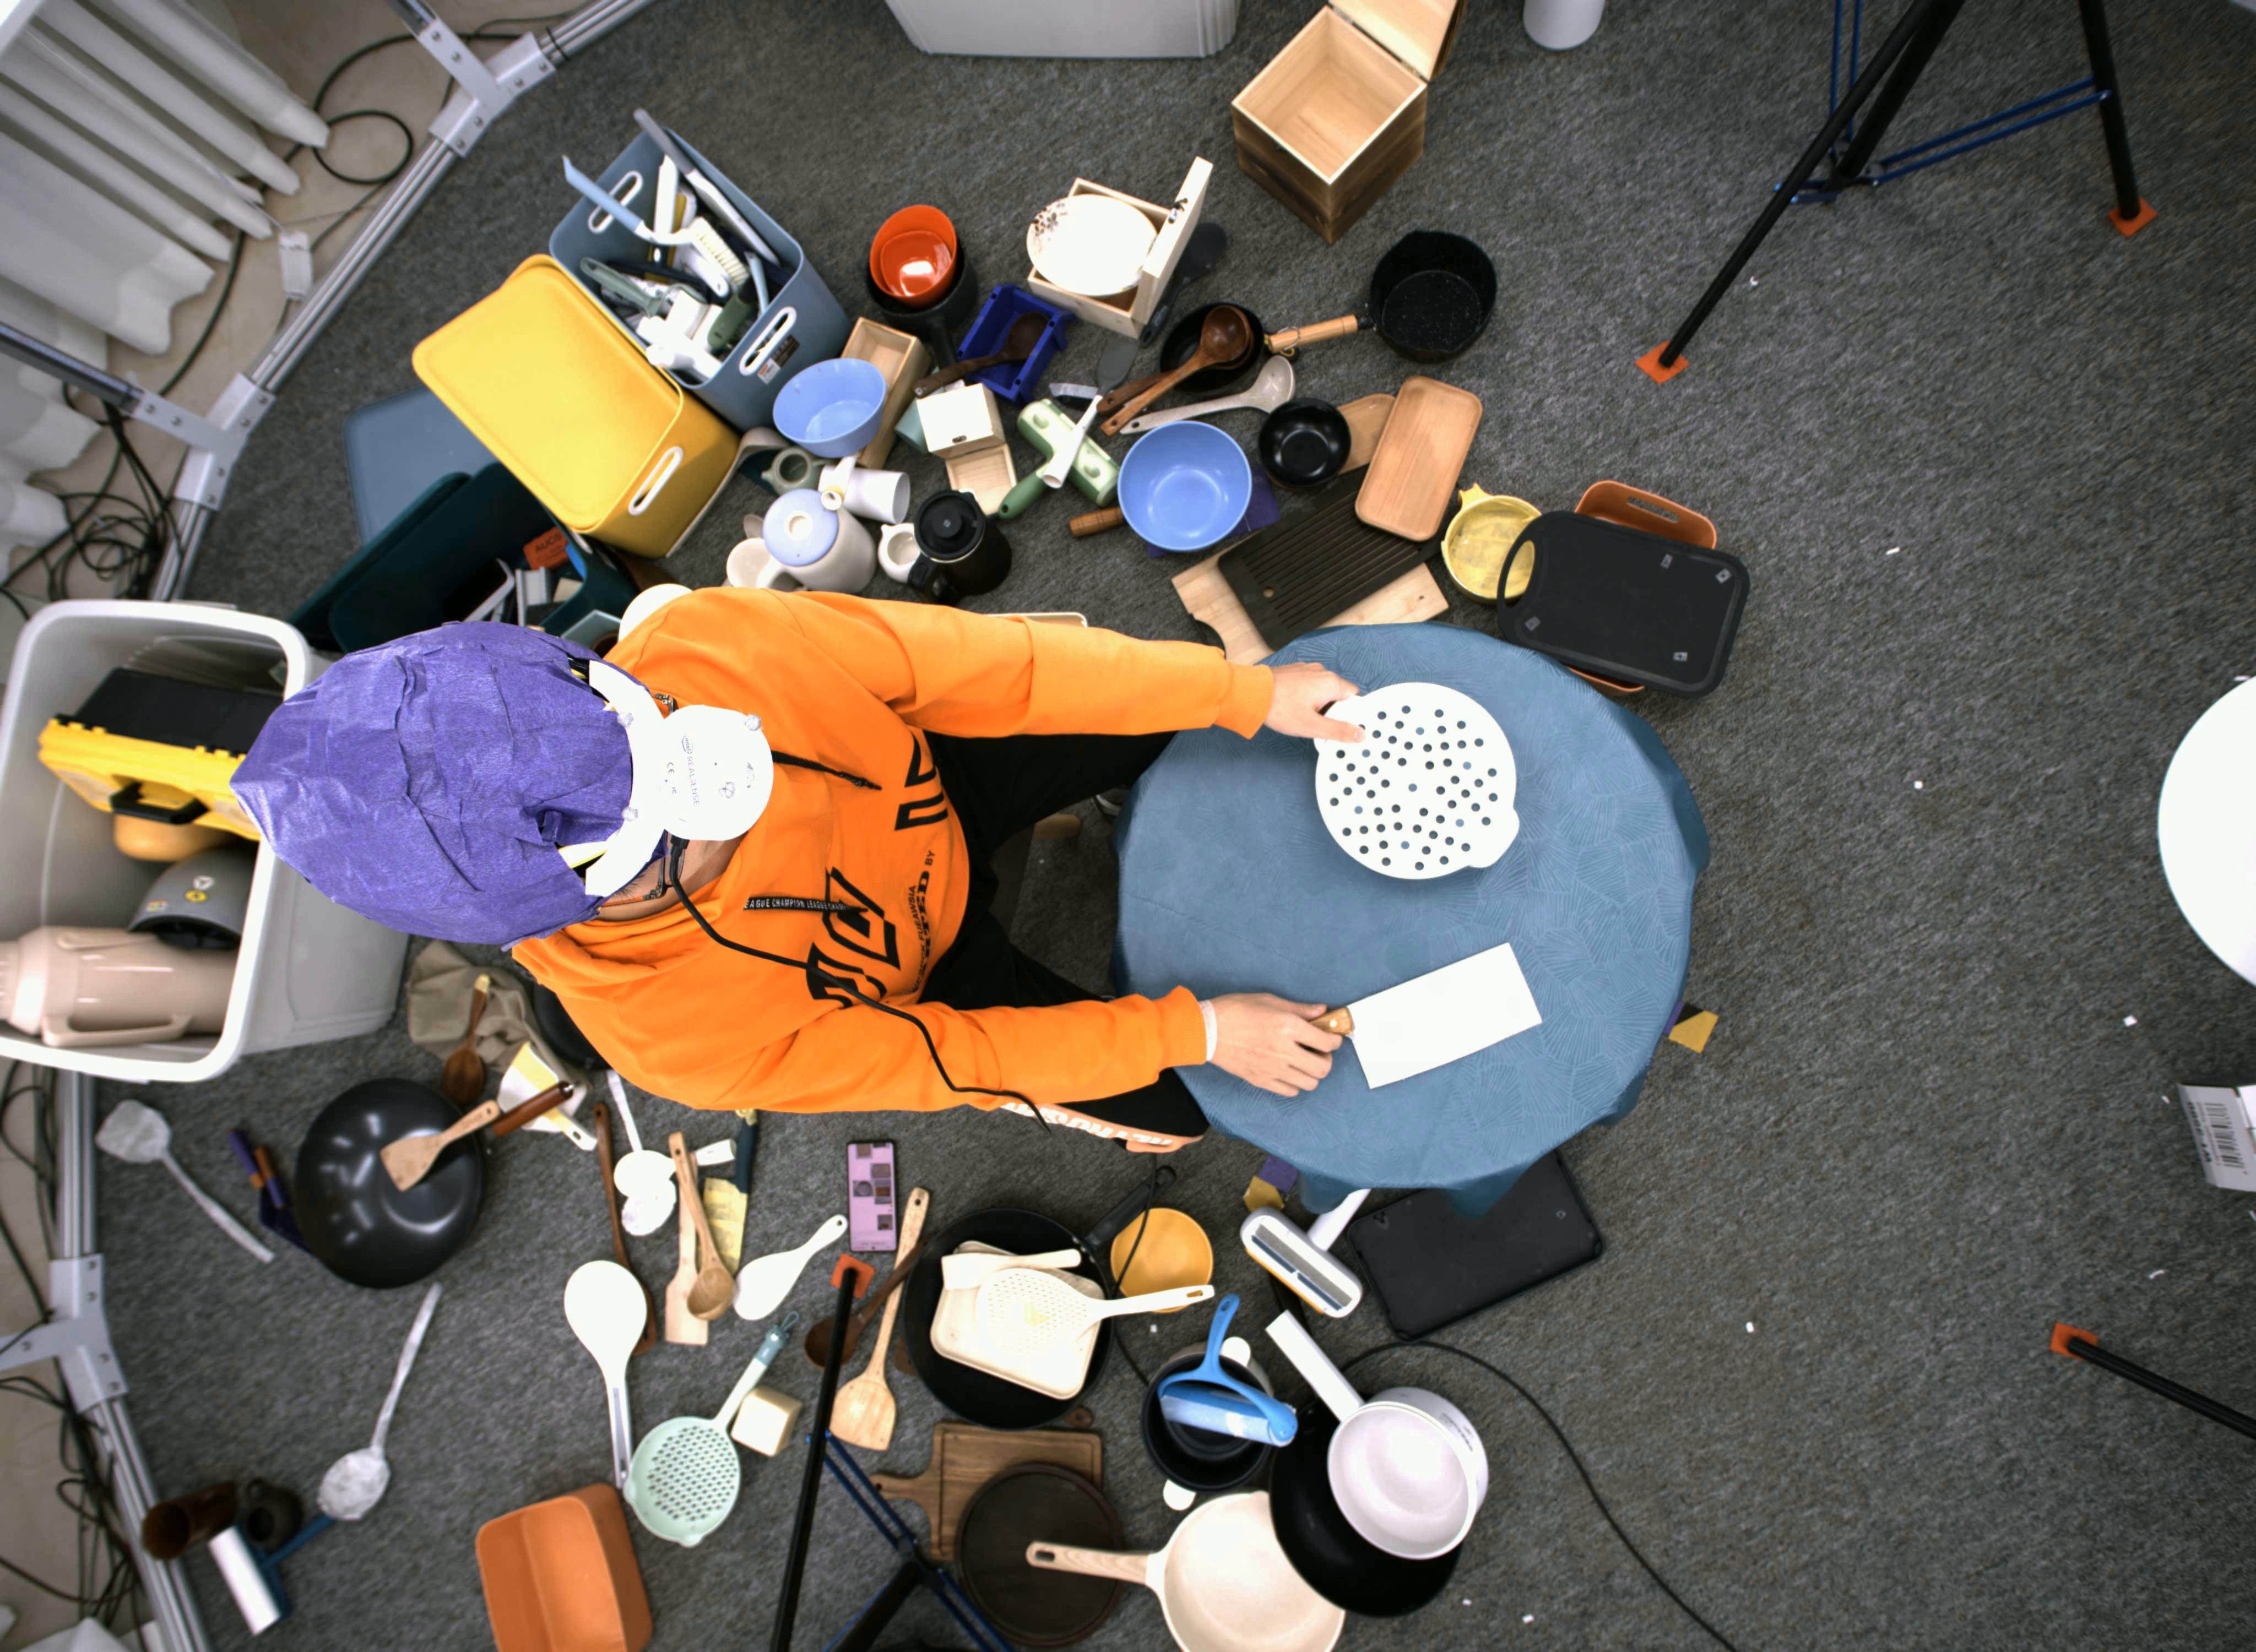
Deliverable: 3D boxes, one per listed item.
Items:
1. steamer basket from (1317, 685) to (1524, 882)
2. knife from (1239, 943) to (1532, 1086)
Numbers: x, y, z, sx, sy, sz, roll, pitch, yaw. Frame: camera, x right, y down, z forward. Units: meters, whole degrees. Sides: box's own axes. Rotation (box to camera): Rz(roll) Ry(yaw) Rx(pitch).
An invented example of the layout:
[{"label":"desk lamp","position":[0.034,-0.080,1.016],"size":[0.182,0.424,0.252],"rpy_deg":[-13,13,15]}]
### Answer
[{"label":"steamer basket","position":[0.301,-0.043,1.426],"size":[0.230,0.069,0.202],"rpy_deg":[38,94,9]},{"label":"knife","position":[0.271,0.215,1.444],"size":[0.307,0.021,0.092],"rpy_deg":[-22,85,6]}]
